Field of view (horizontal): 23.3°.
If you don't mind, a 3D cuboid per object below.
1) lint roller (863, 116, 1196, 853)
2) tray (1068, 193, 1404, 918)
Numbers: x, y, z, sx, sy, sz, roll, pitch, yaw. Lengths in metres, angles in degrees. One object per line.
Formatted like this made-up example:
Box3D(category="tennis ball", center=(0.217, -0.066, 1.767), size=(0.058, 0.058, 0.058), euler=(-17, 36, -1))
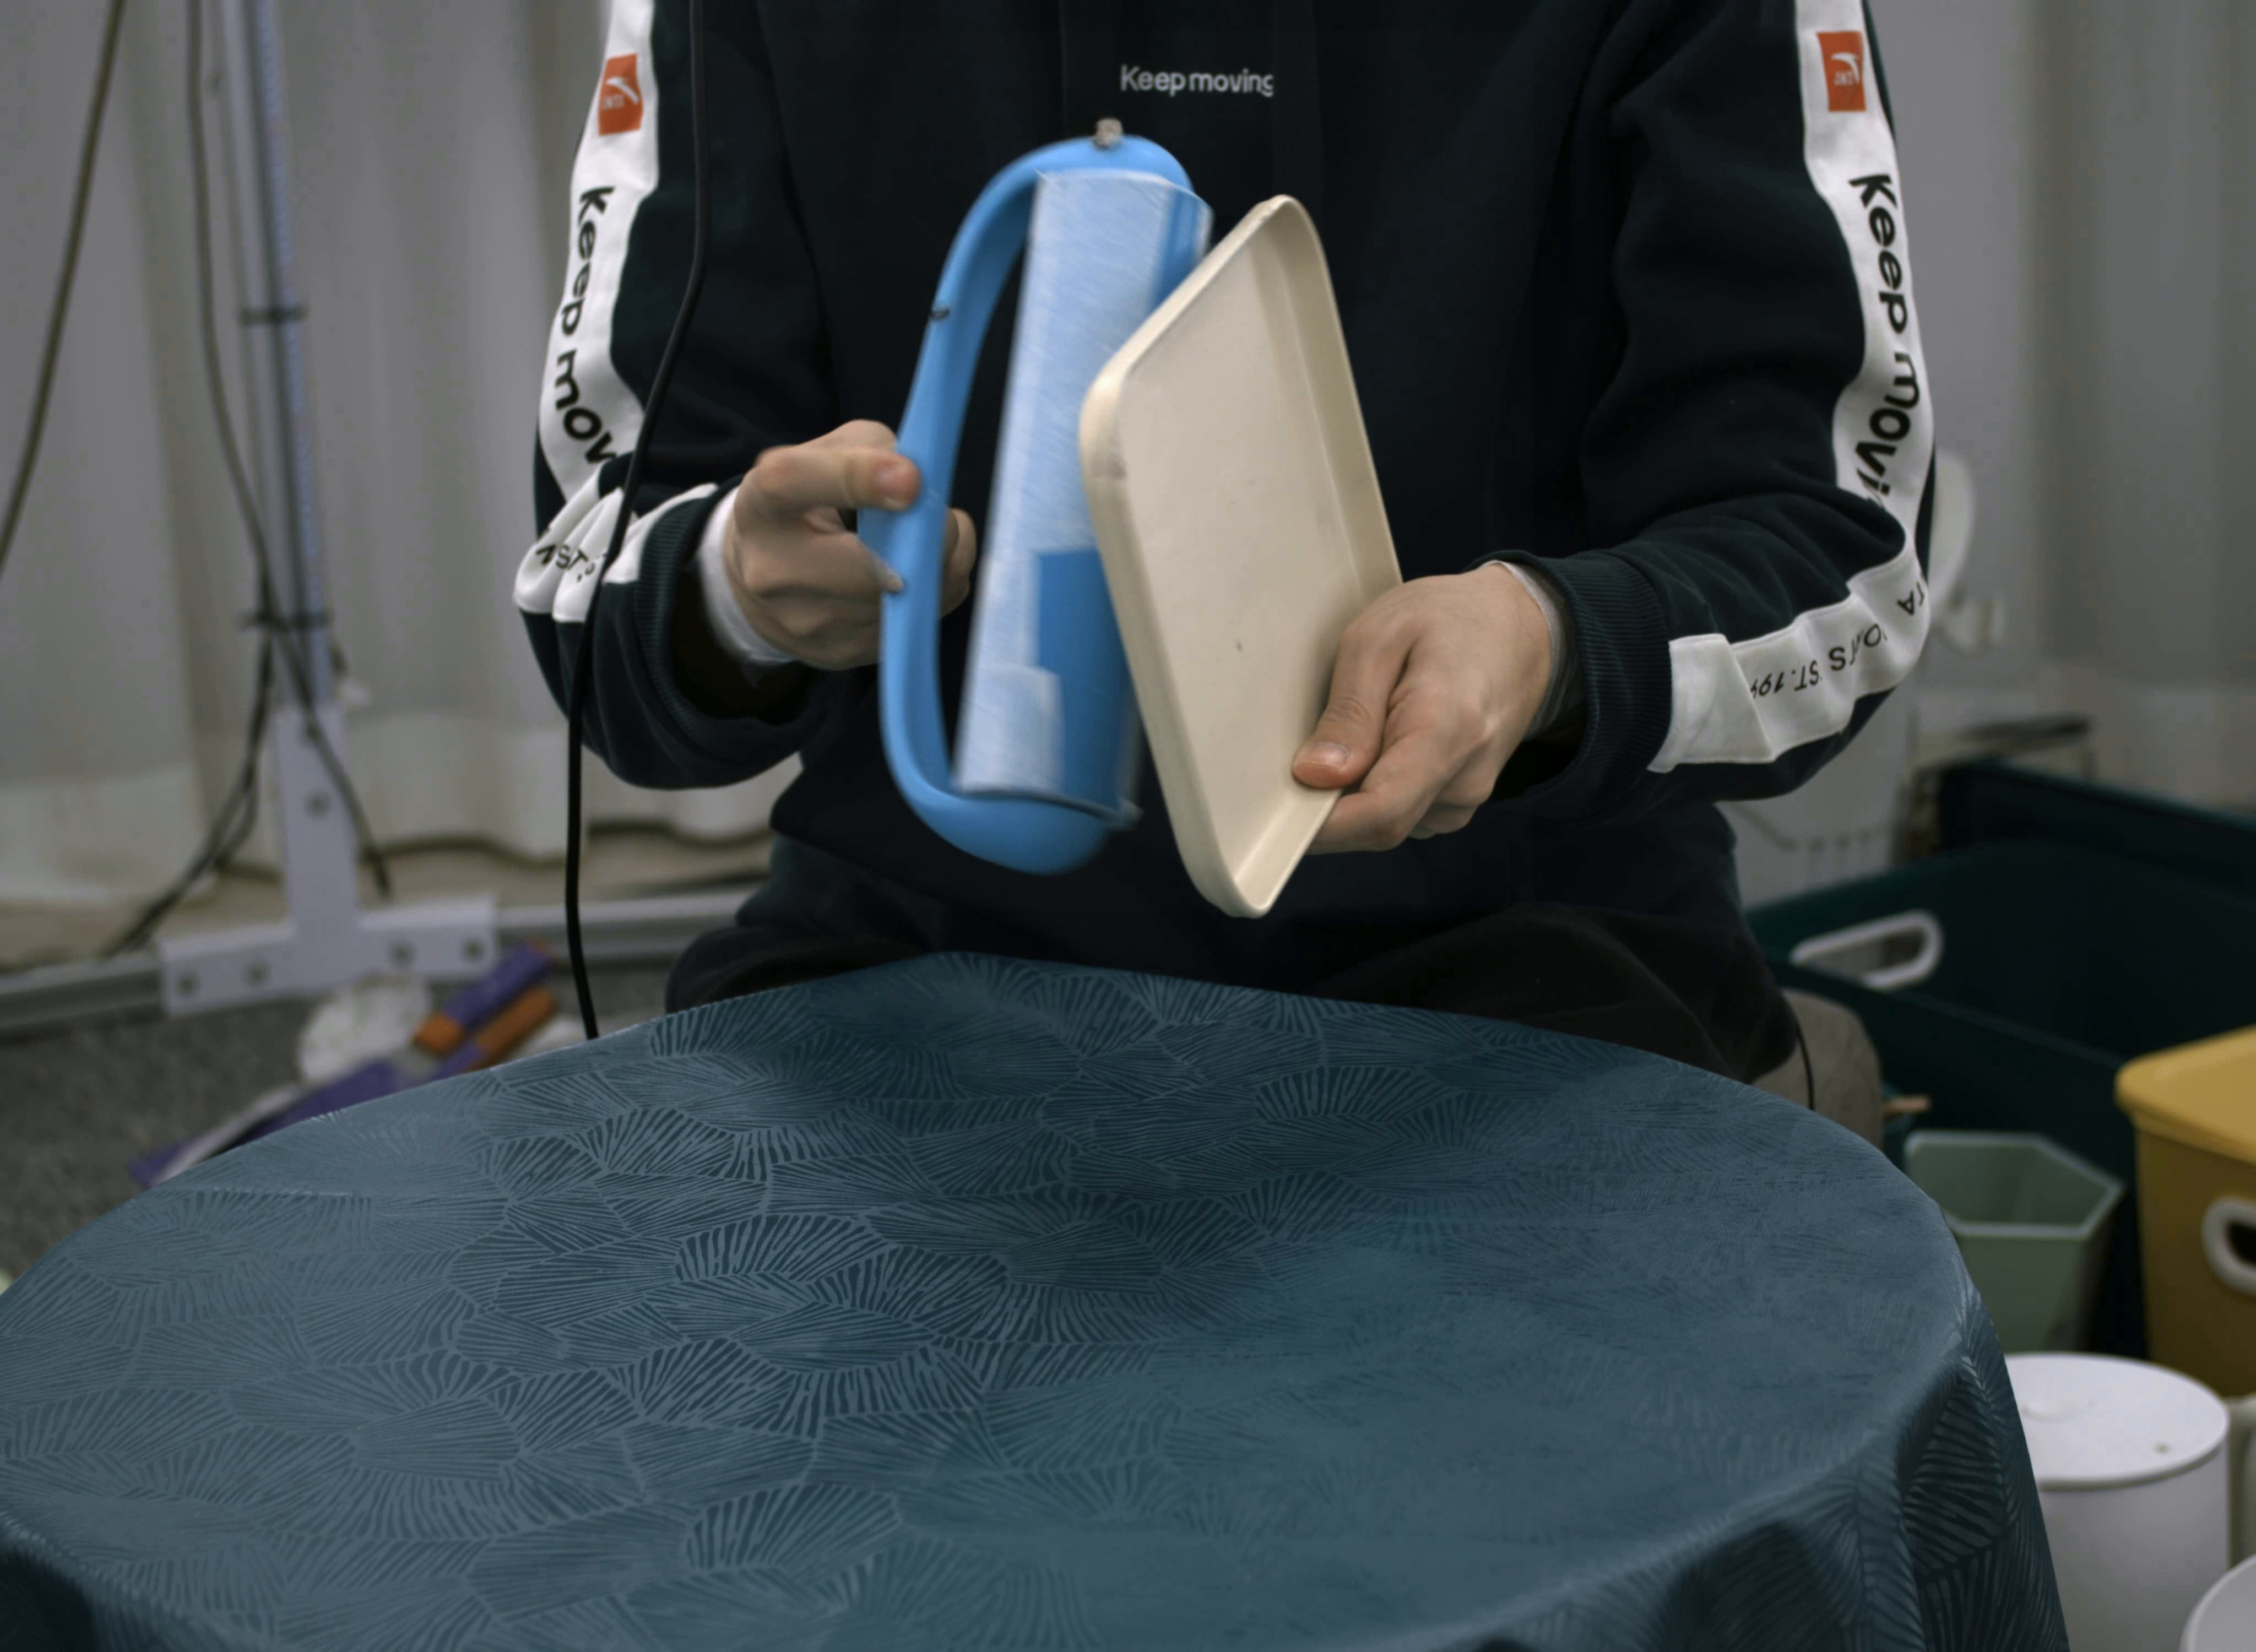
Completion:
Box3D(category="lint roller", center=(-0.049, -0.095, 1.694), size=(0.067, 0.231, 0.180), euler=(14, -16, -27))
Box3D(category="tray", center=(0.034, -0.084, 1.645), size=(0.017, 0.170, 0.241), euler=(-10, 17, 19))
